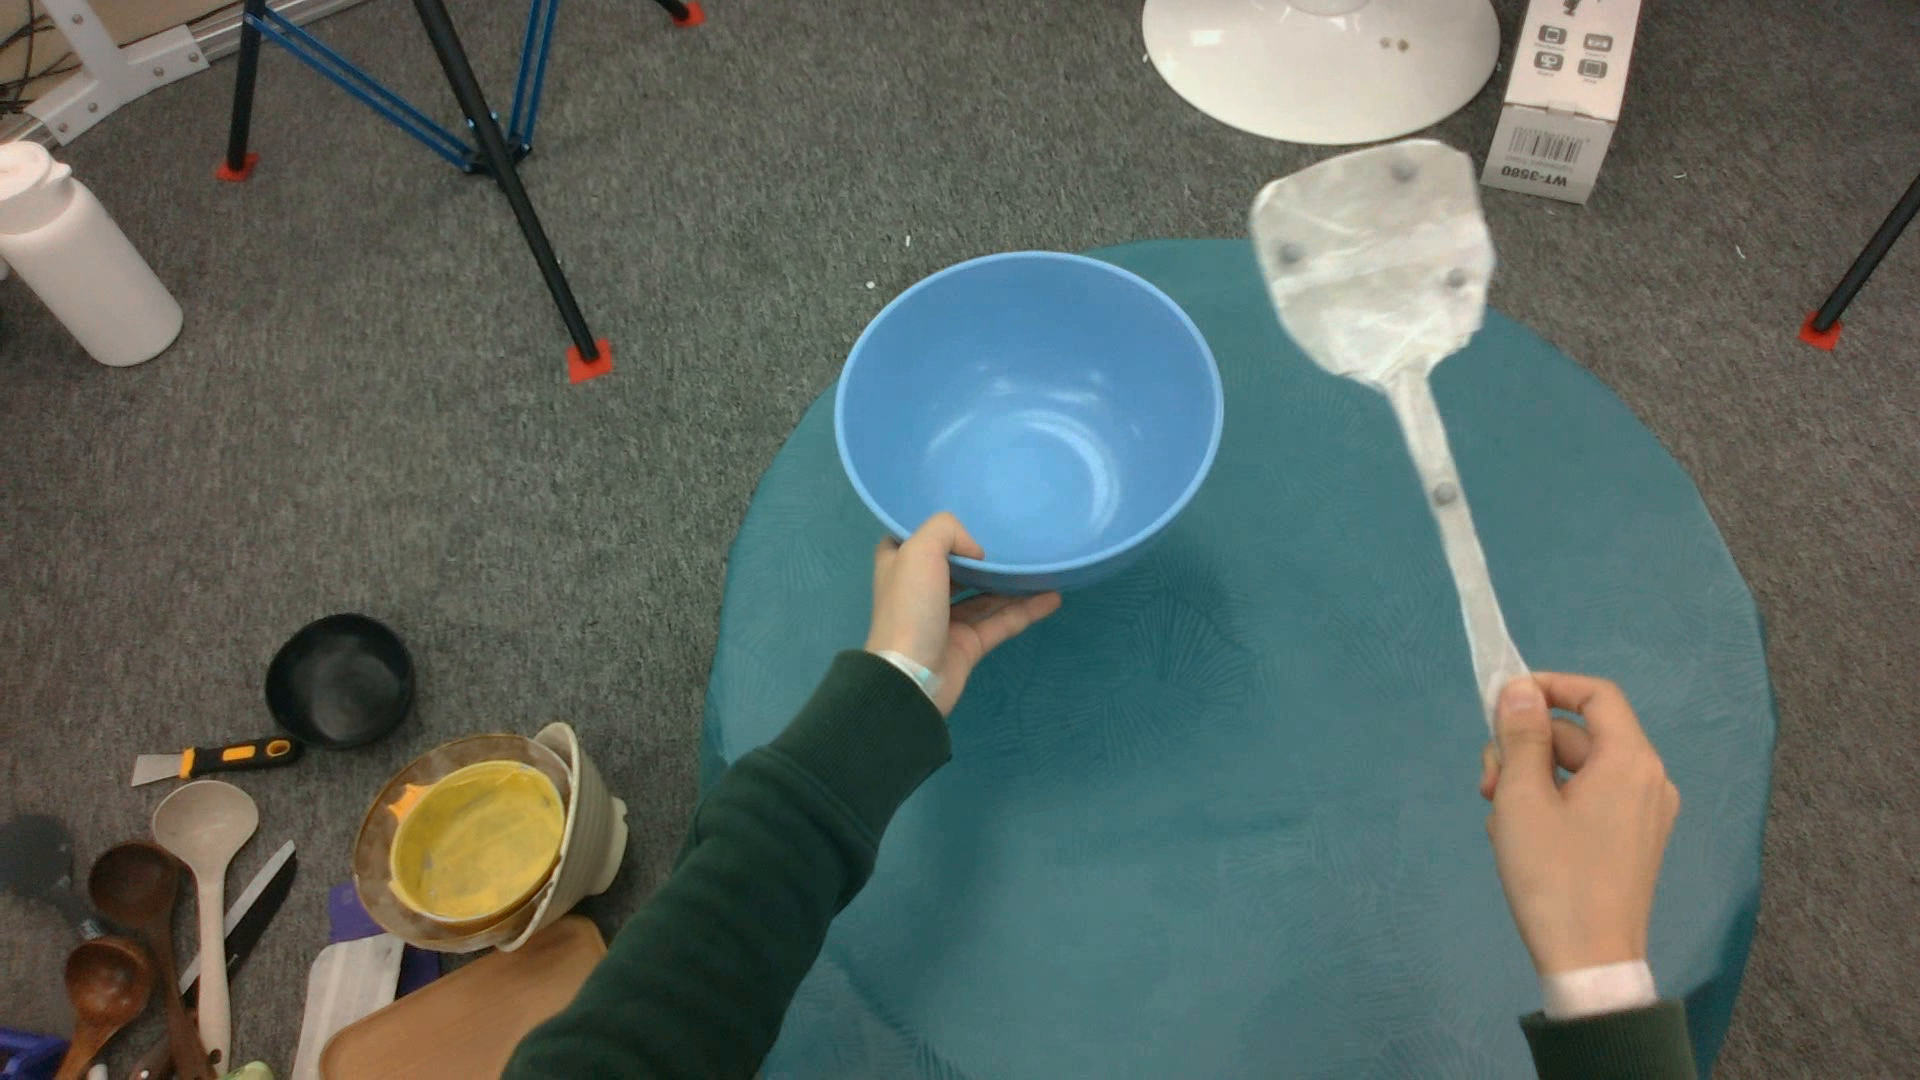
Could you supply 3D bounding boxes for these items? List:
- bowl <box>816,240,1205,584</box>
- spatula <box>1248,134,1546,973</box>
[{"bbox_3d":[0.027,-0.054,0.733,0.196,0.095,0.197,-1,60,2],"label":"bowl"},{"bbox_3d":[0.201,-0.006,0.587,0.098,0.044,0.366,-9,71,5],"label":"spatula"}]
